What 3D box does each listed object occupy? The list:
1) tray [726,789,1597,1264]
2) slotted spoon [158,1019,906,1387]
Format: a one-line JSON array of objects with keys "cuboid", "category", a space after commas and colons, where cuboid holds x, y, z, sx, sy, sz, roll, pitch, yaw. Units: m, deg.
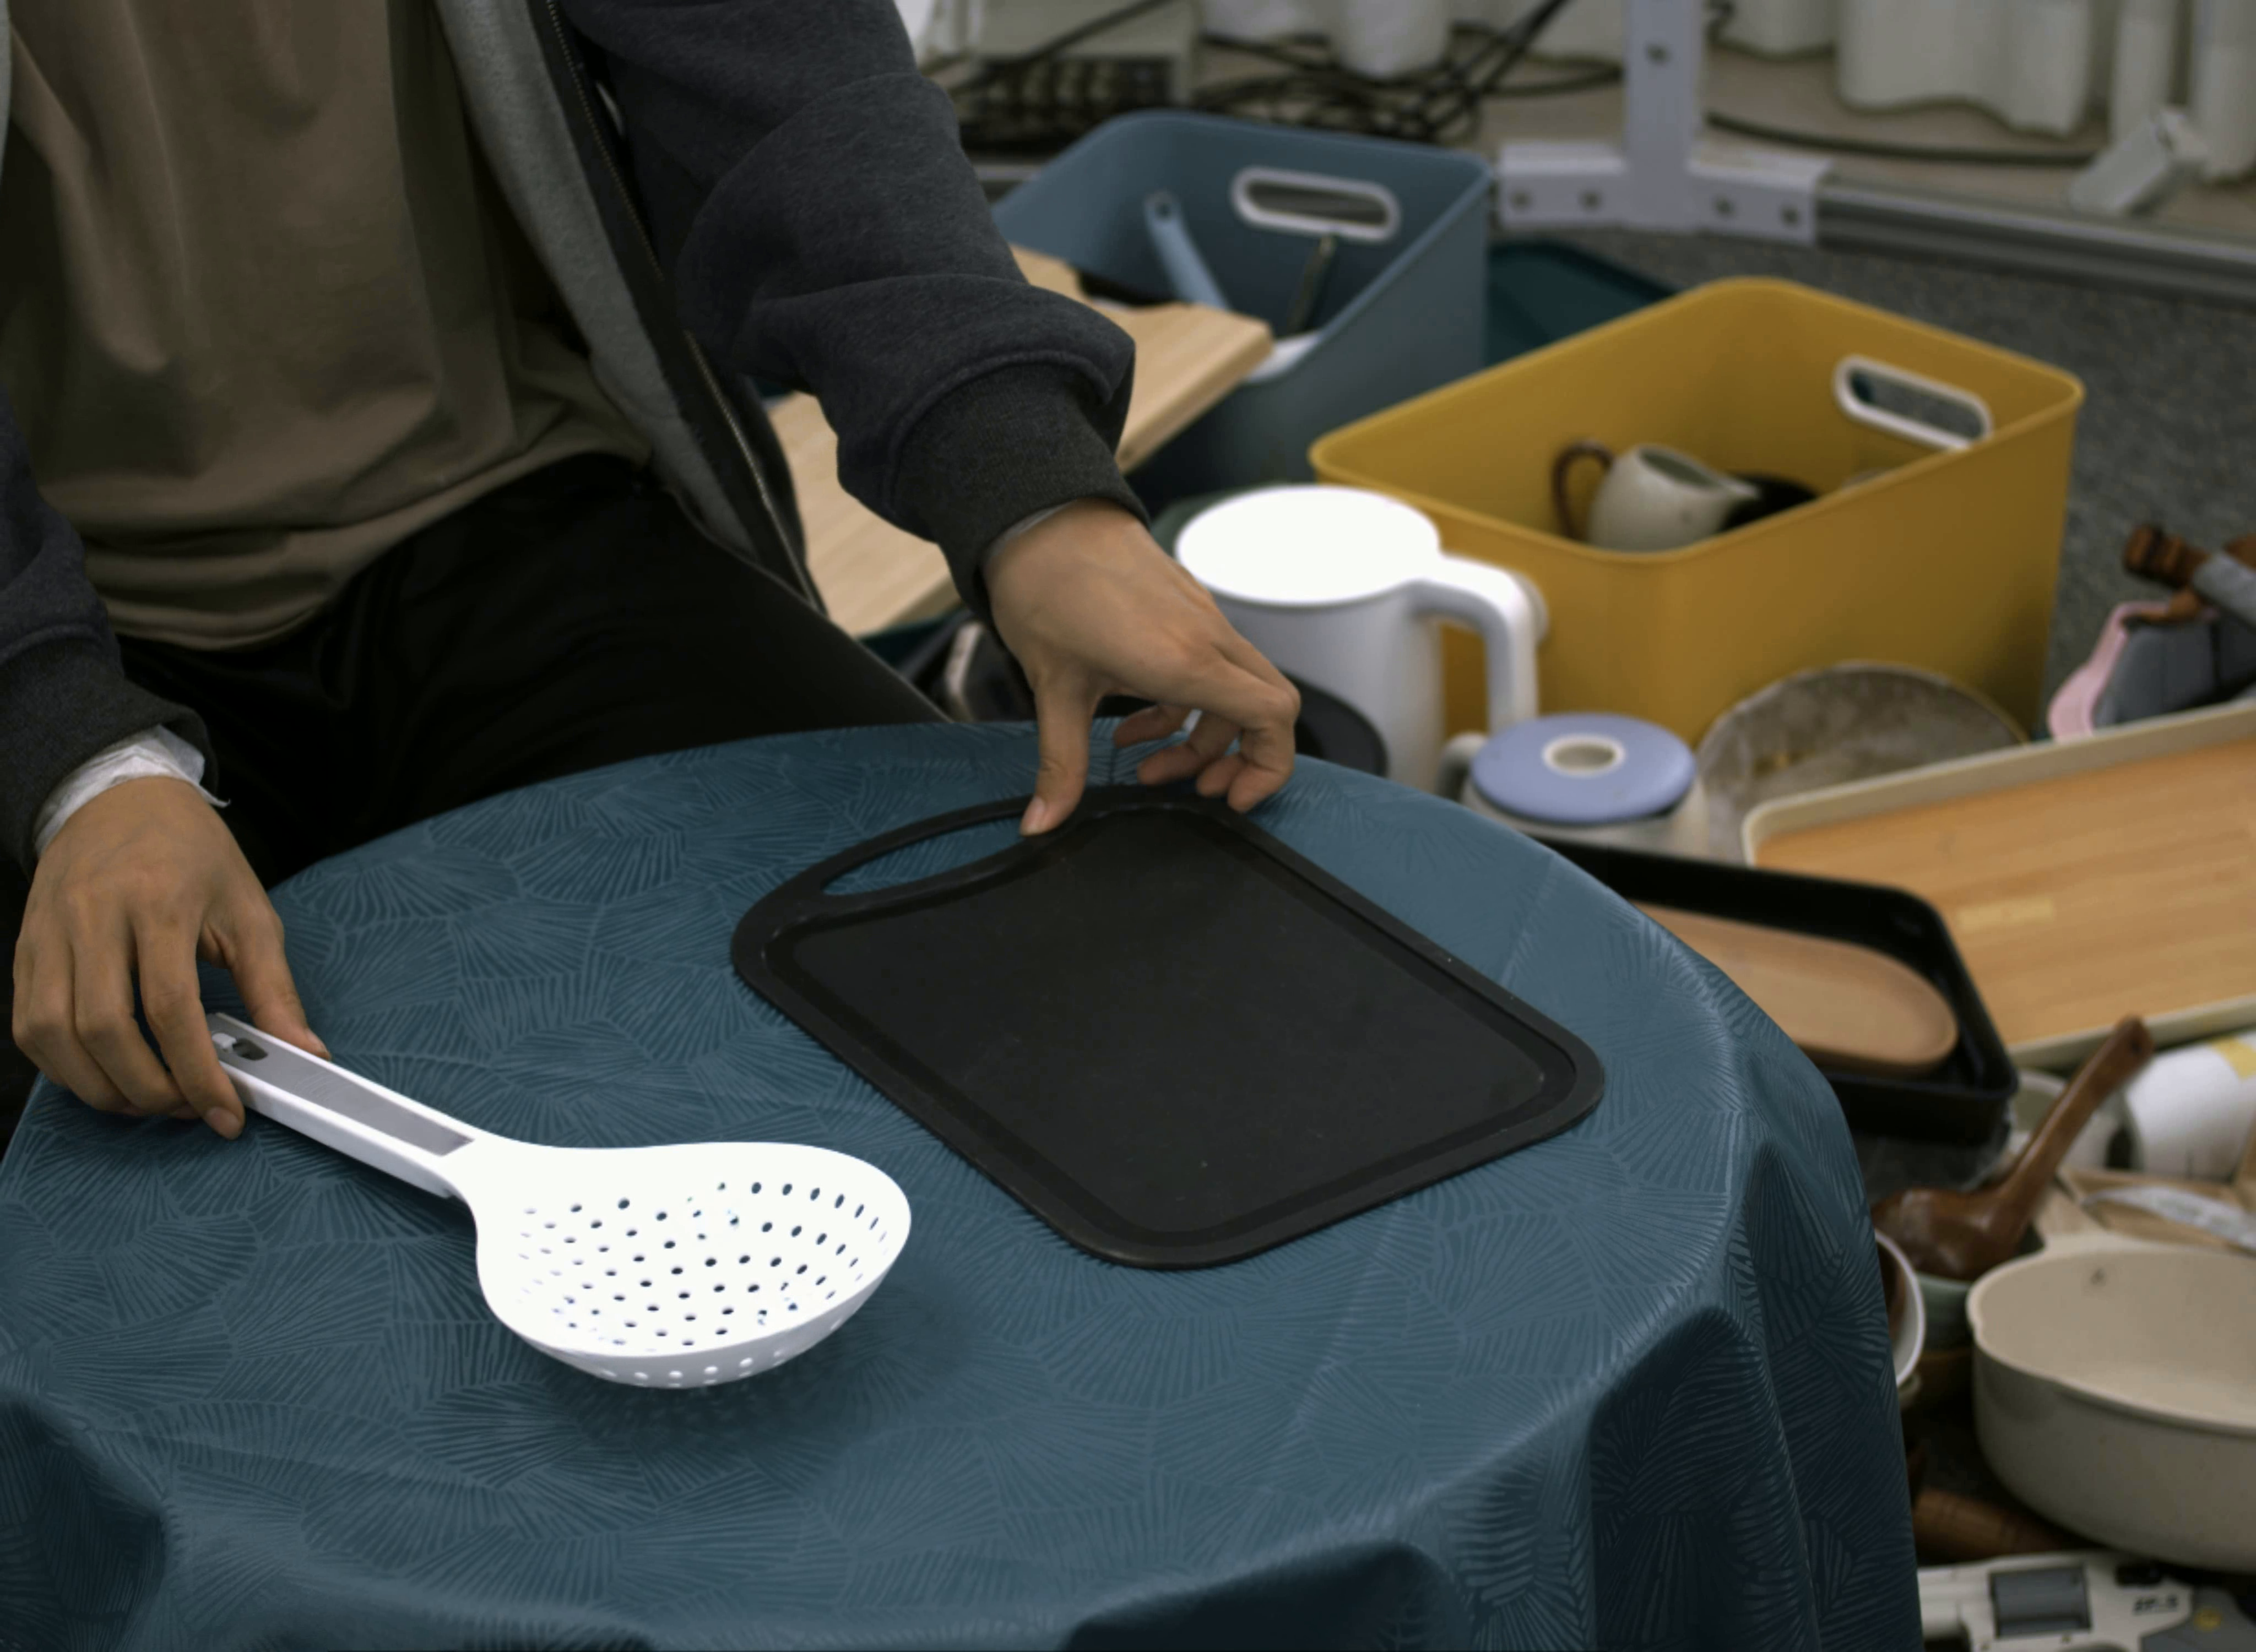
[{"cuboid": [0.002, 0.061, 1.972, 0.212, 0.009, 0.326, -18, 31, -27], "category": "tray"}, {"cuboid": [-0.211, 0.116, 1.845, 0.137, 0.045, 0.349, -25, 34, -38], "category": "slotted spoon"}]
